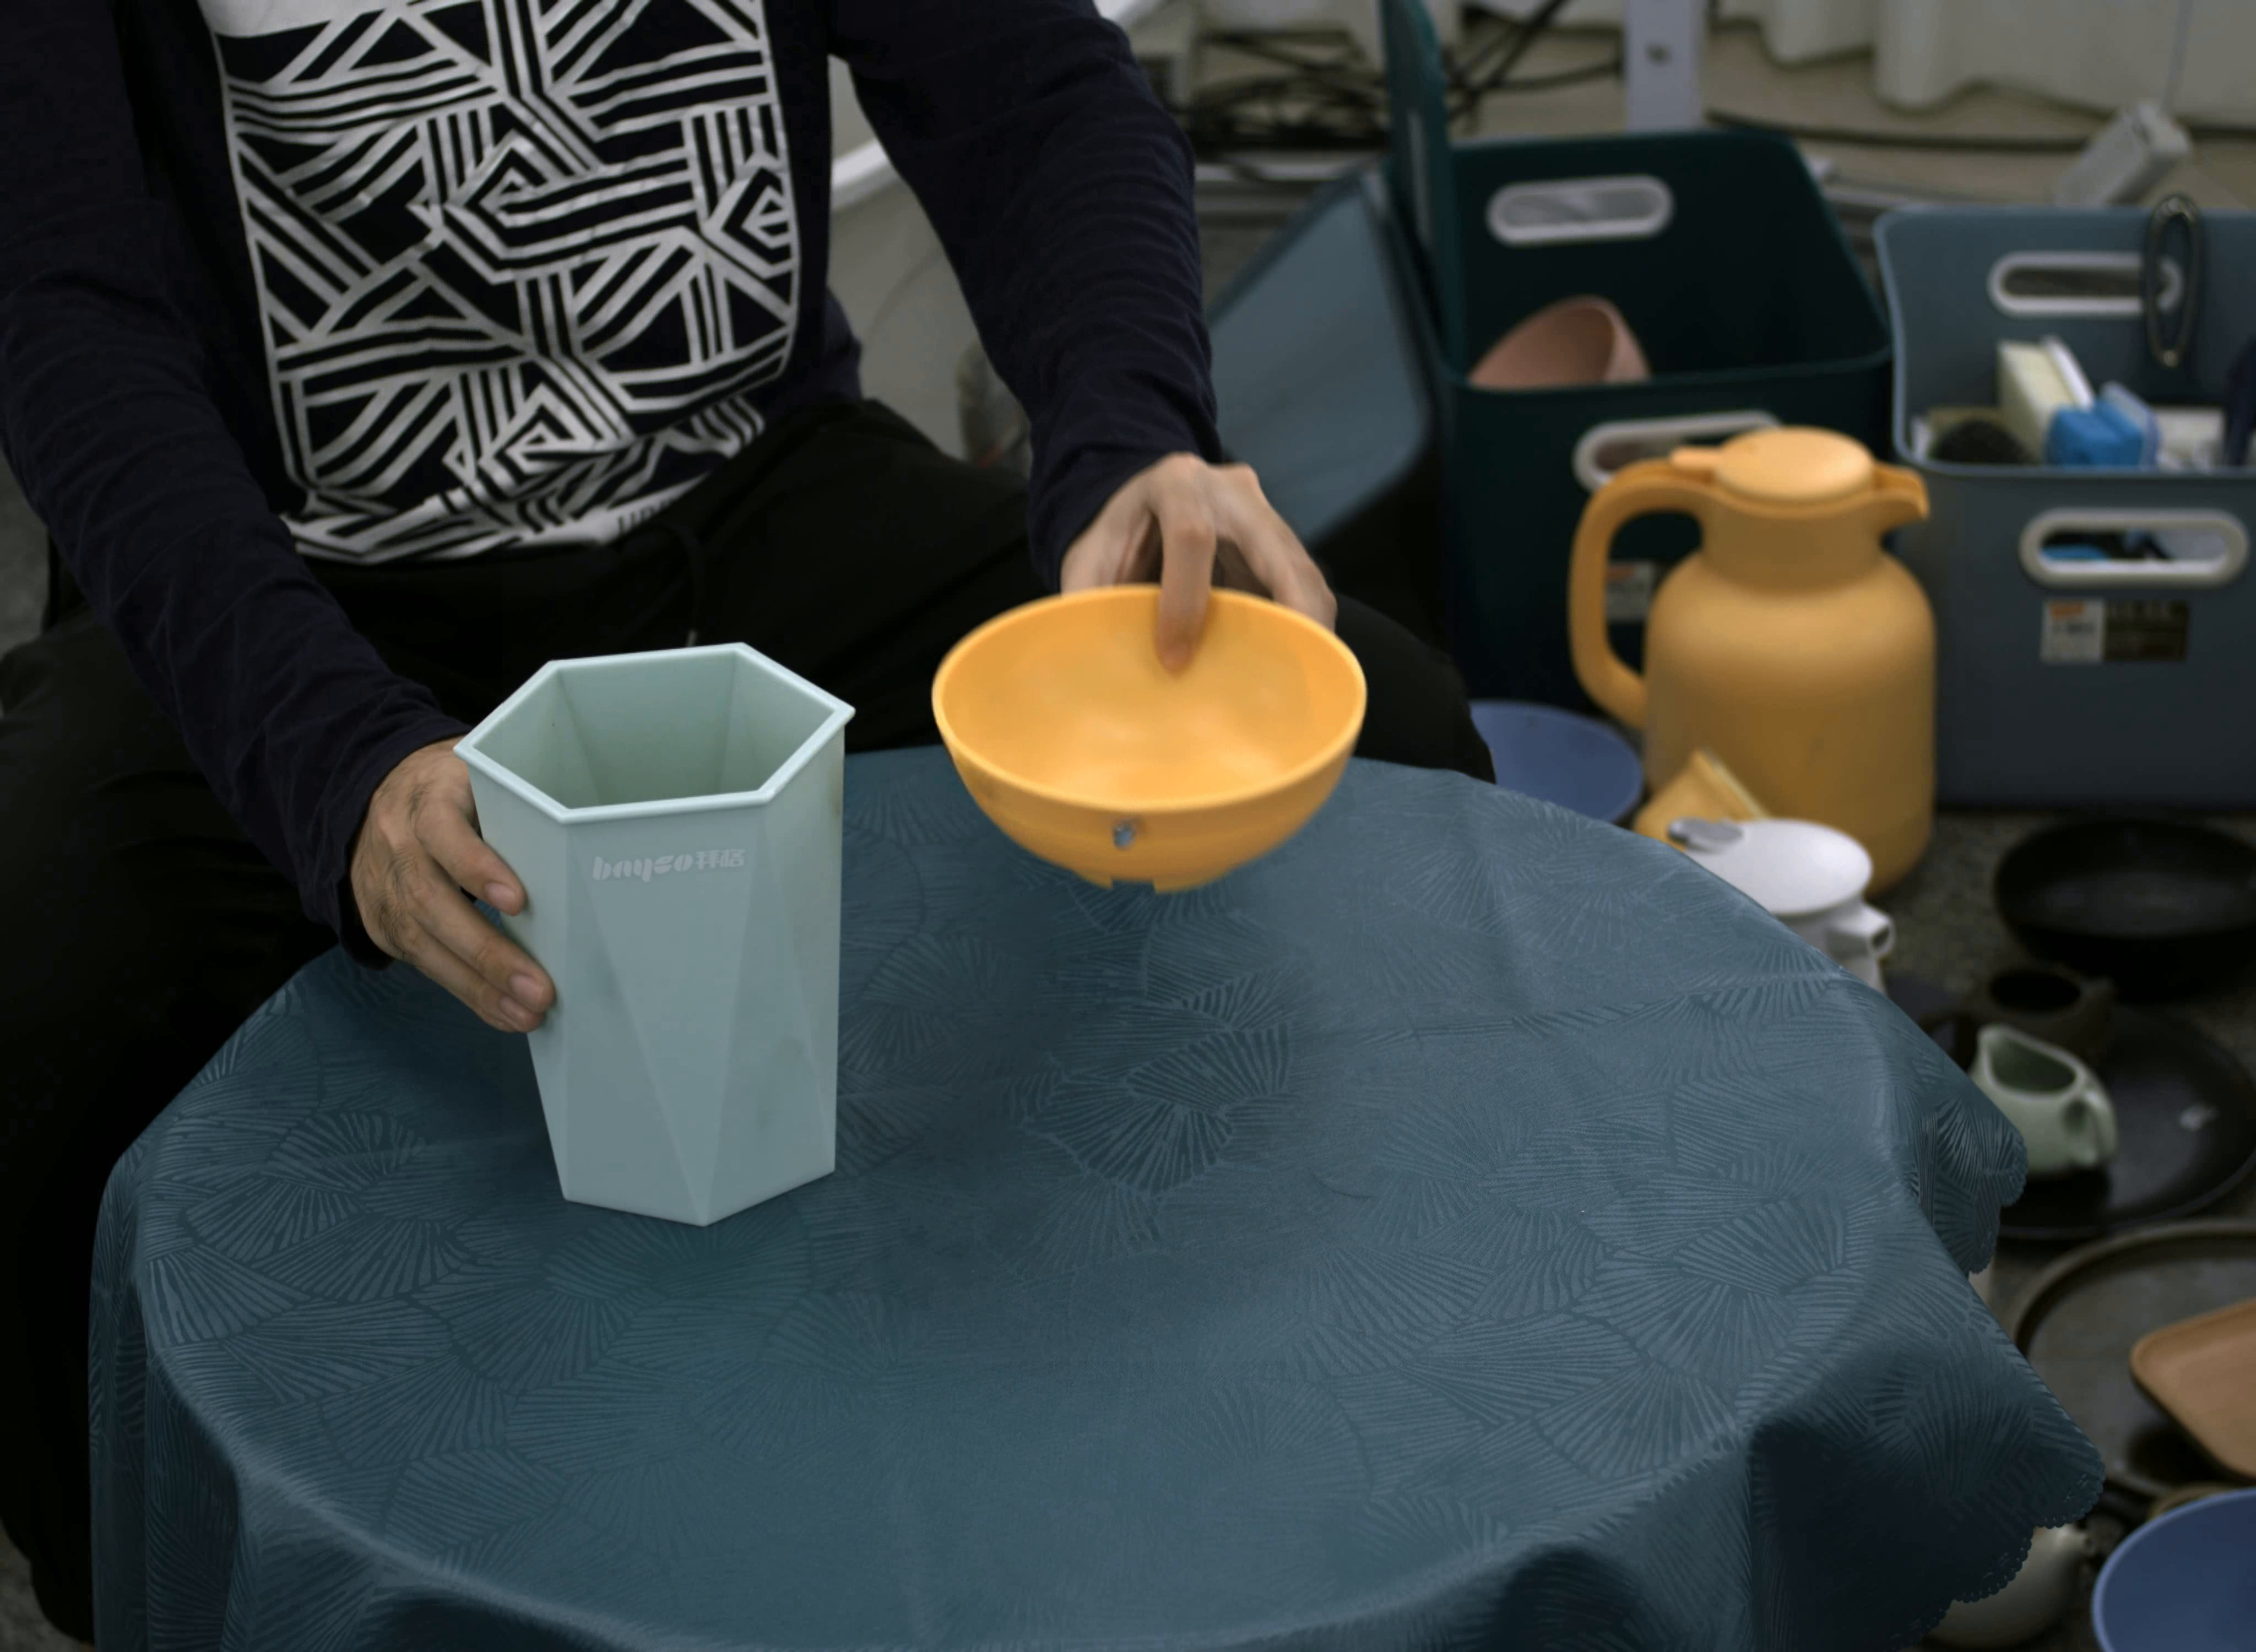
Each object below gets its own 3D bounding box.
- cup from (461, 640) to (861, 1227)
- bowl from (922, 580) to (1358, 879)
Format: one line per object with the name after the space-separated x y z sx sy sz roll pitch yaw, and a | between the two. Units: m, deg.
-0.149 0.038 1.859 0.131 0.161 0.116 -5 25 -9 | cup
0.004 -0.023 1.867 0.144 0.059 0.147 0 28 0 | bowl
